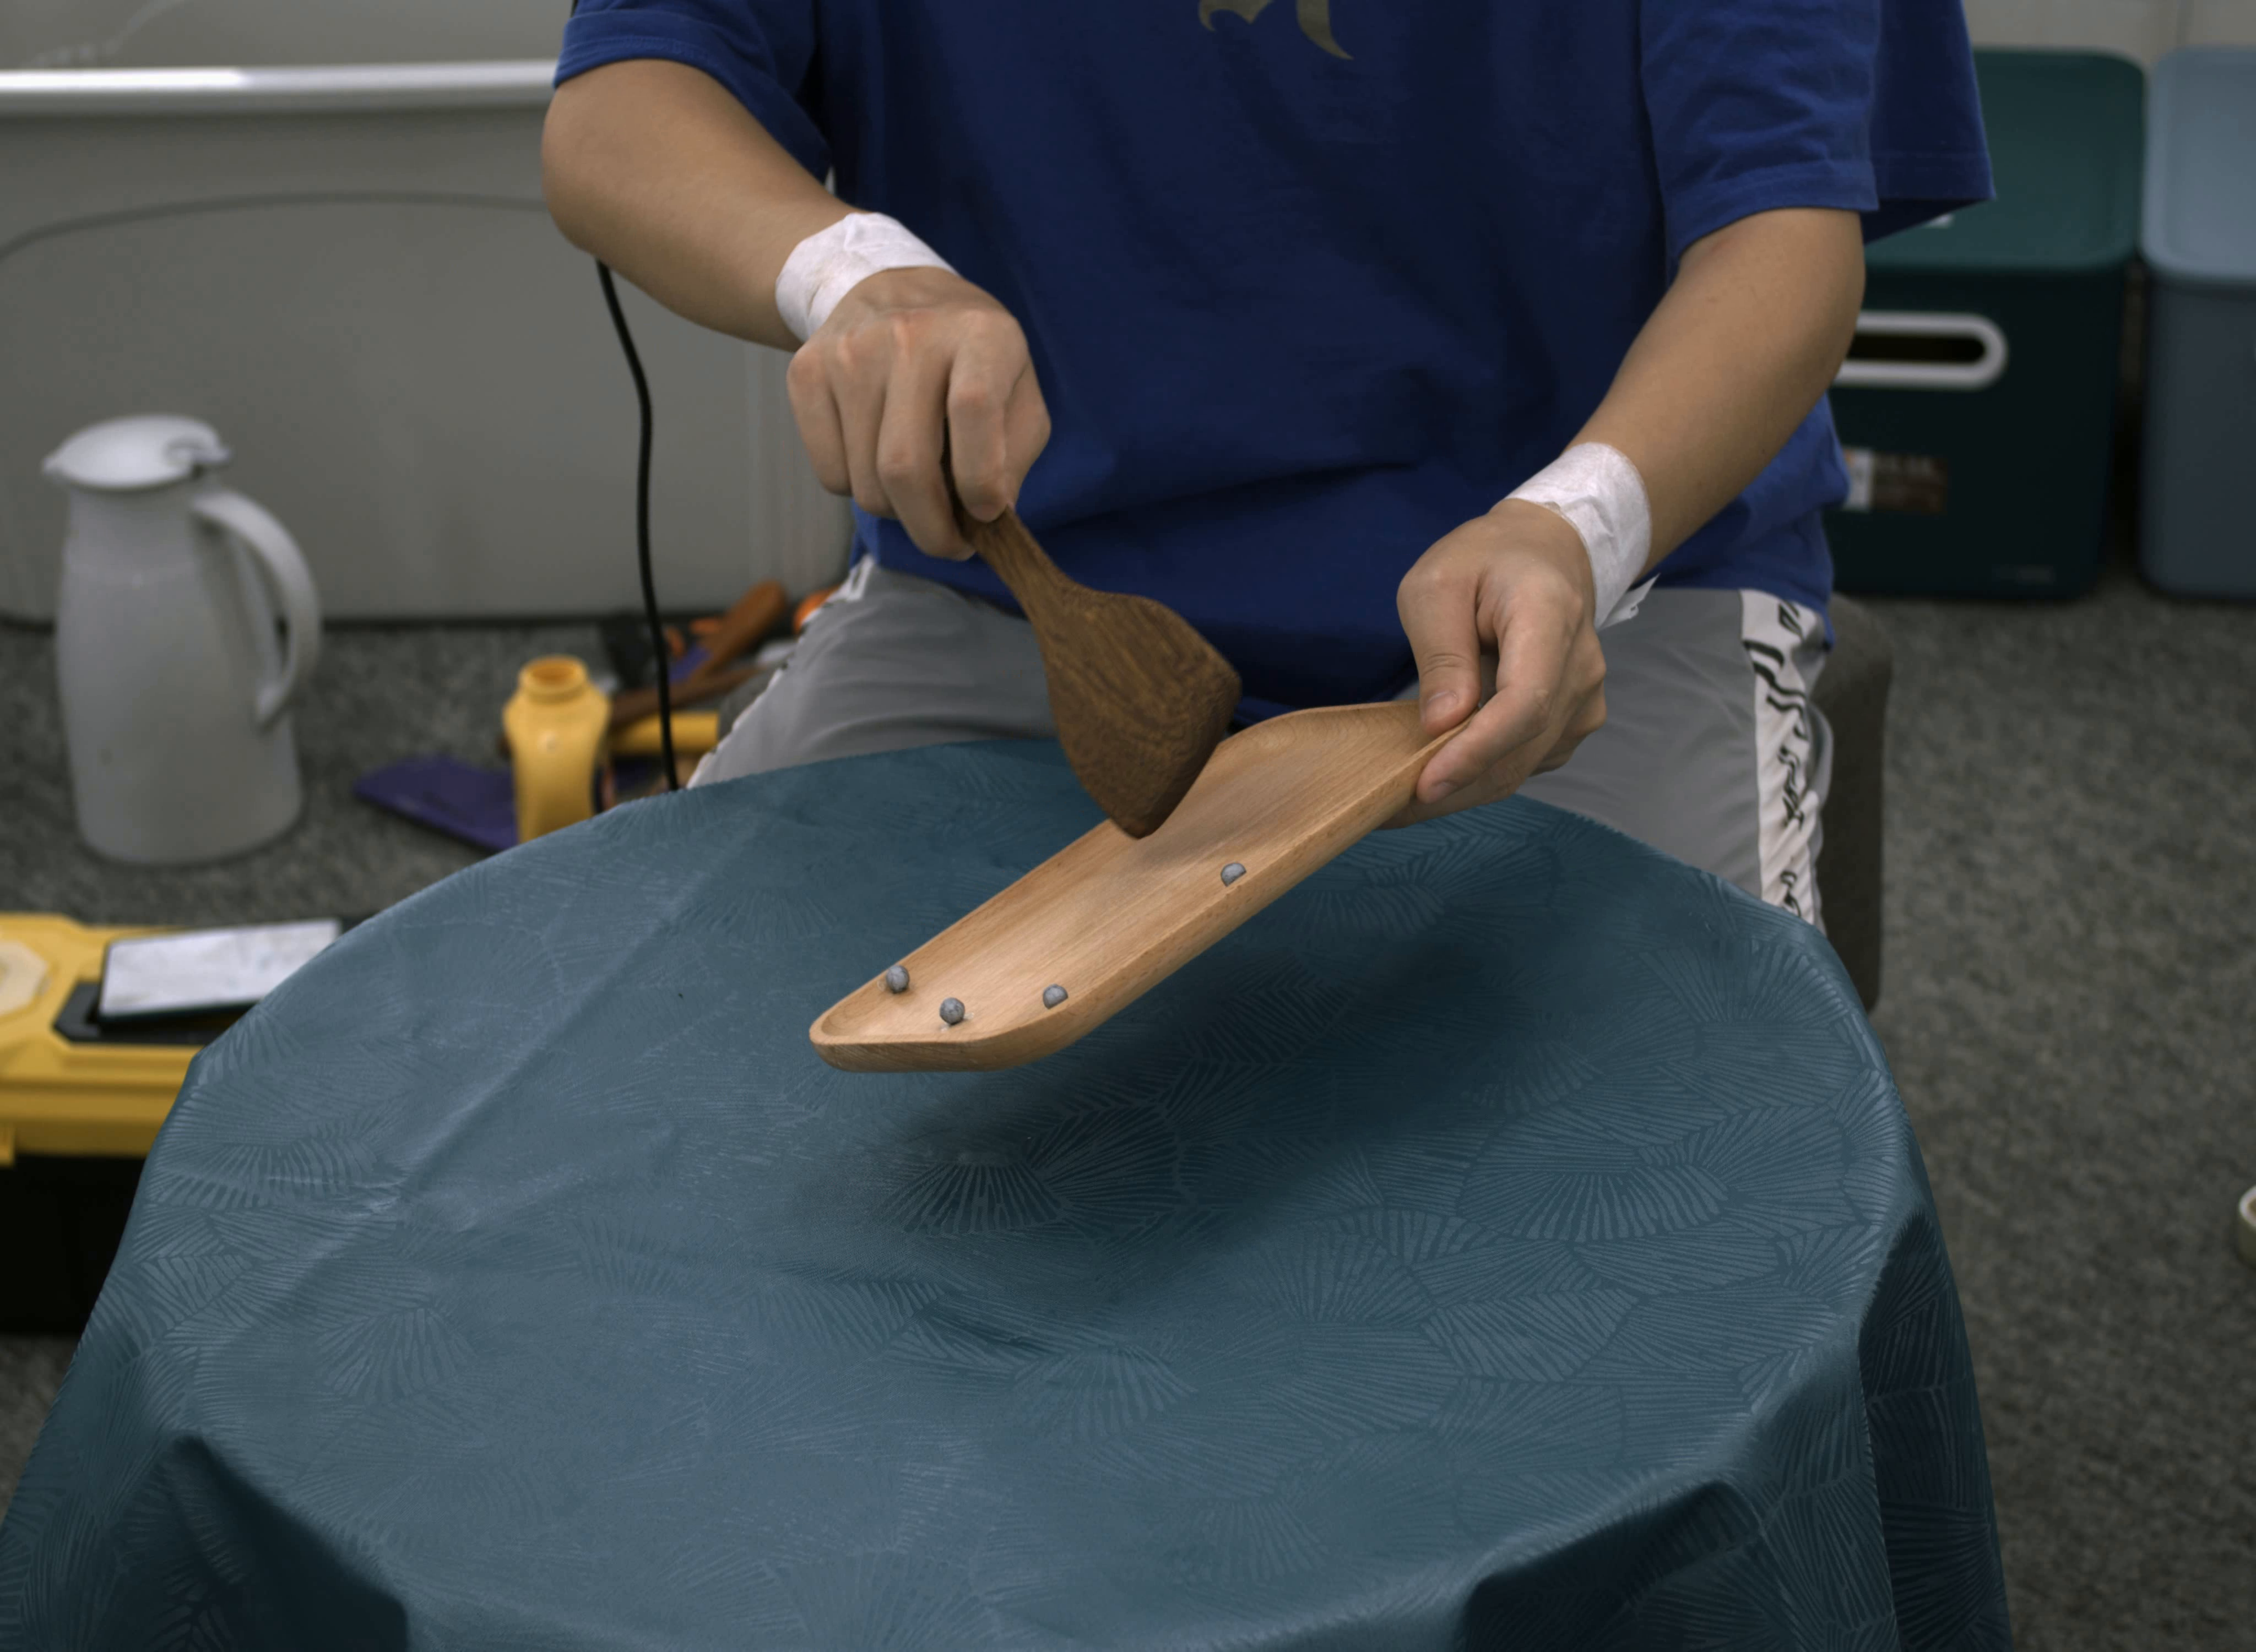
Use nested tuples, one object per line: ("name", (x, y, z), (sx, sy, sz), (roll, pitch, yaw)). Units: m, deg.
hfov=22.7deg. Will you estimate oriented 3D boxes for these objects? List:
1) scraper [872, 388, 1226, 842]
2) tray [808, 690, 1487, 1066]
("scraper", (-0.035, -0.083, 1.946), (0.011, 0.075, 0.213), (7, 33, -42))
("tray", (0.009, 0.017, 1.890), (0.254, 0.023, 0.129), (-33, 21, -37))
